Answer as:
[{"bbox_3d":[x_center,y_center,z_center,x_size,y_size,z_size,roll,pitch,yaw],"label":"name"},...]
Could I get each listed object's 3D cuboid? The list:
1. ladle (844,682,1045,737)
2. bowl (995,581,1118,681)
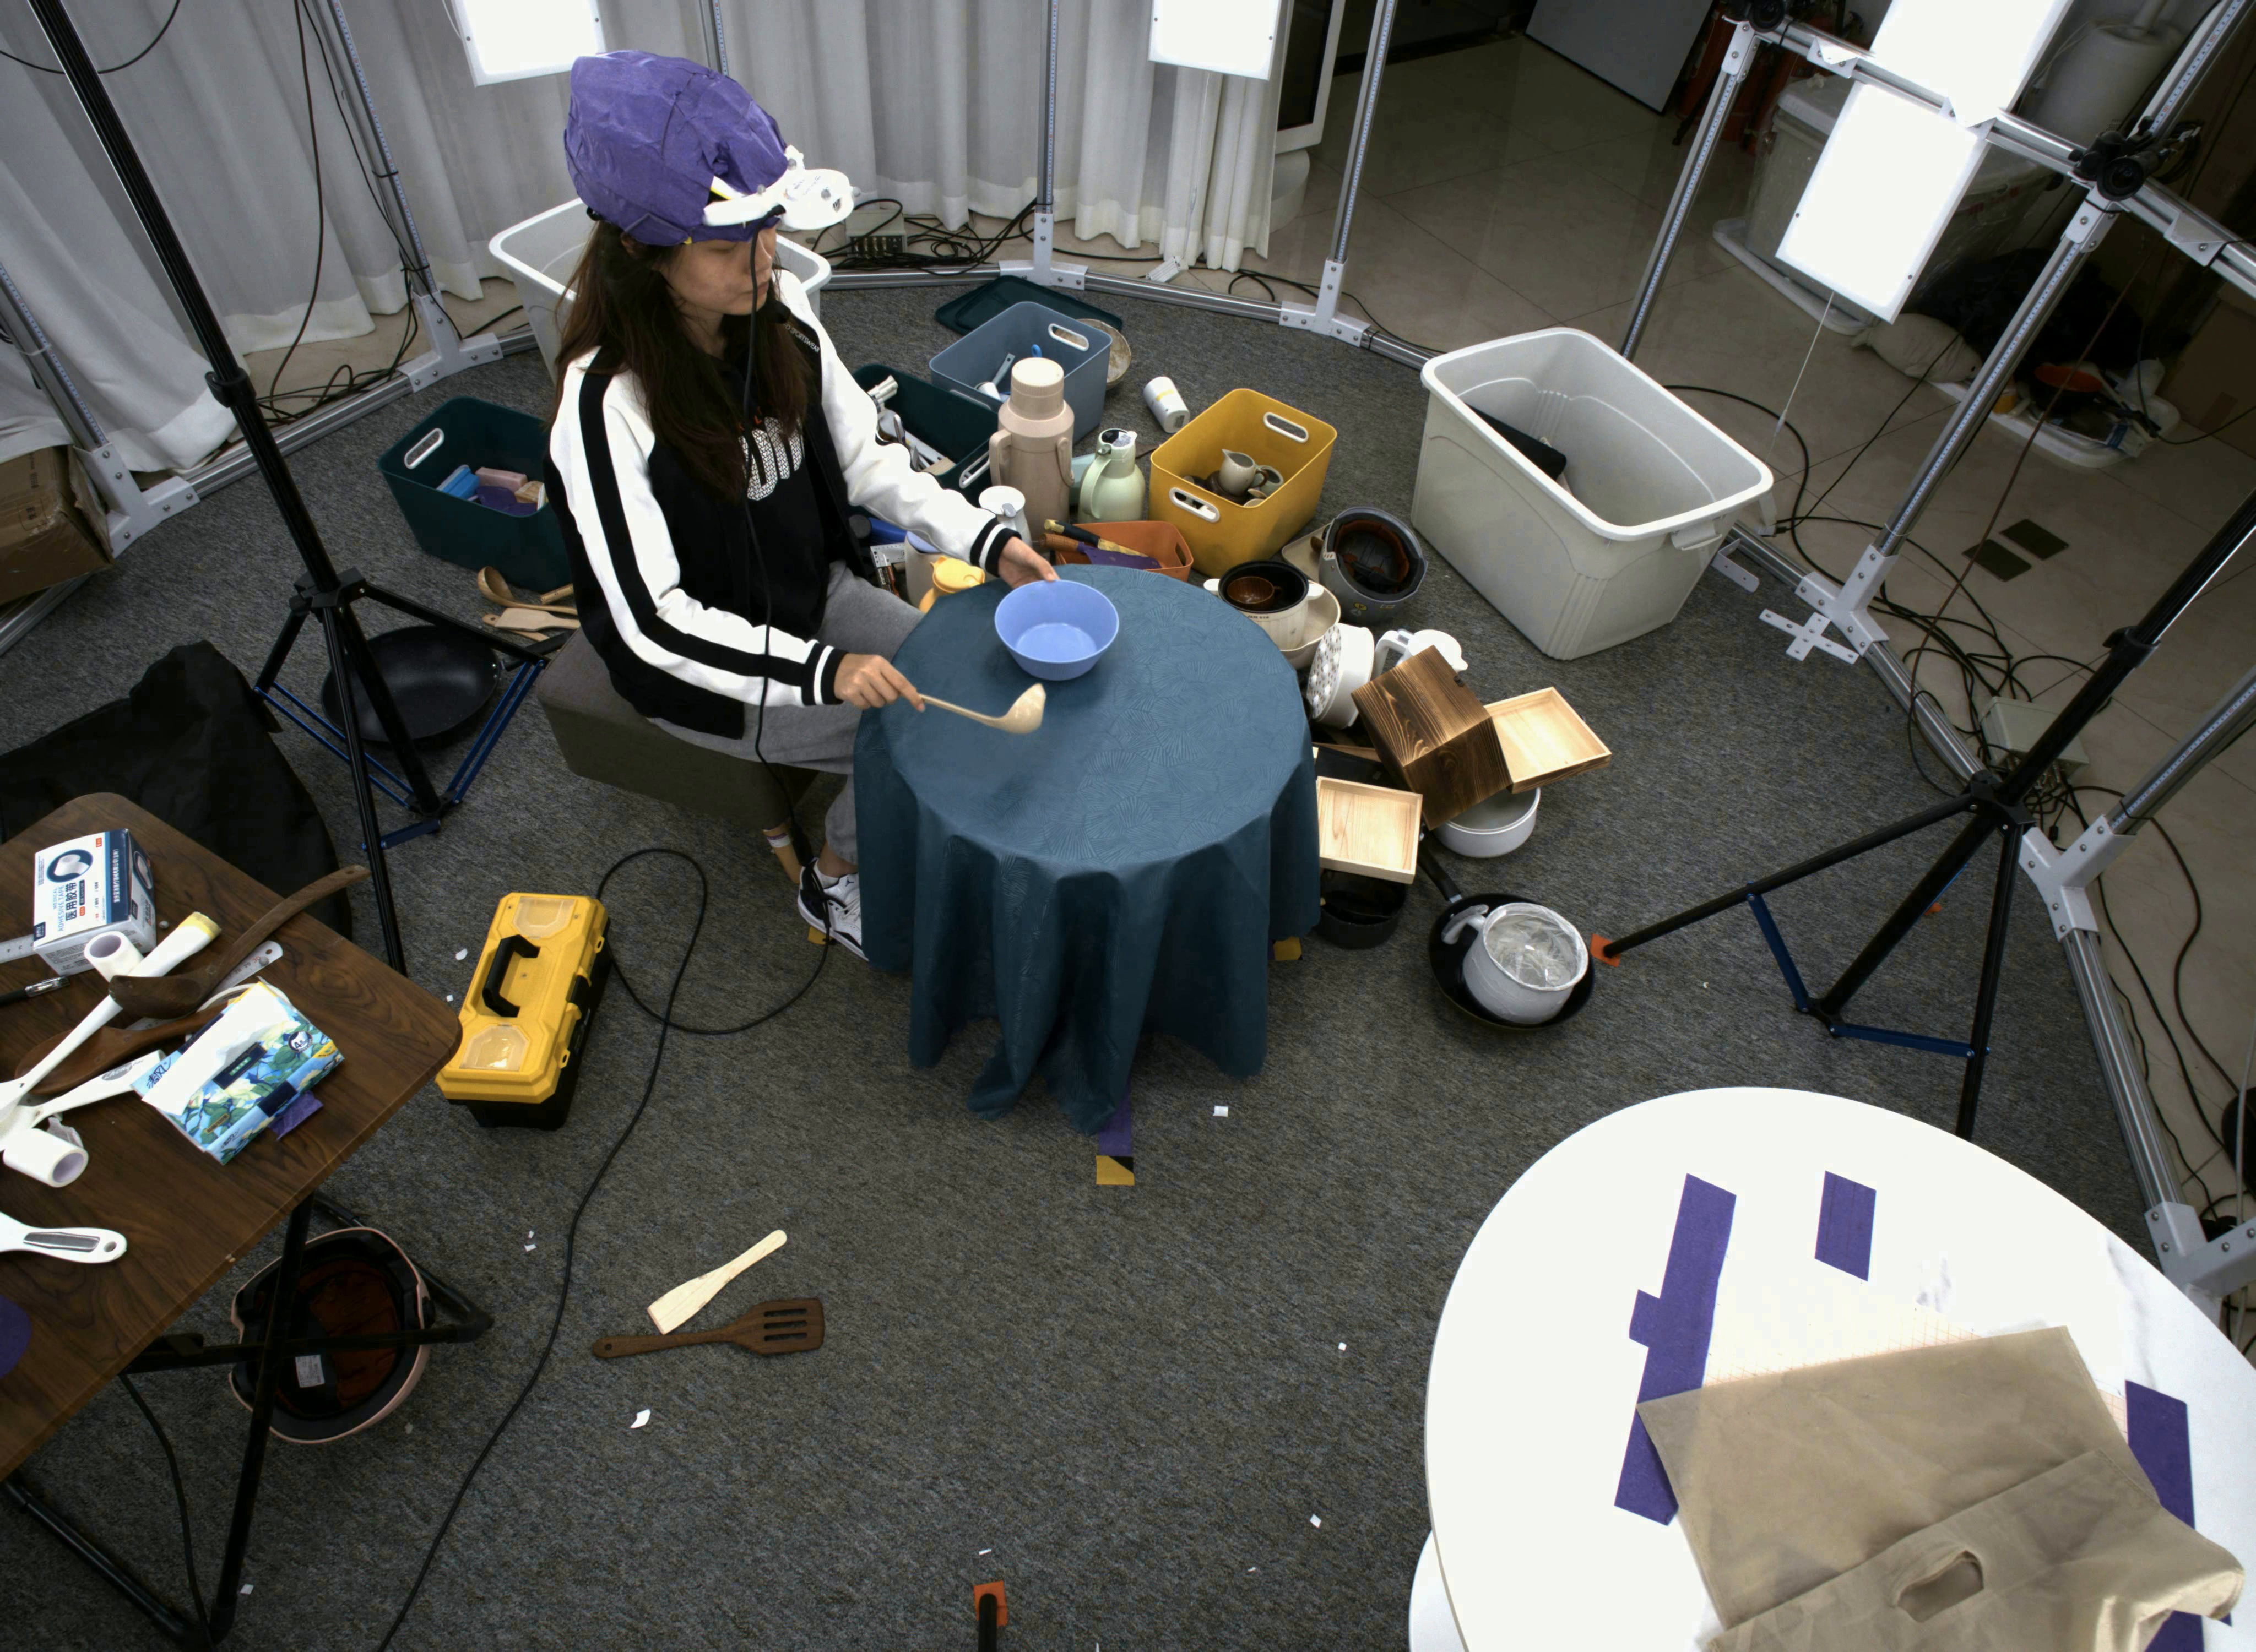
[{"bbox_3d":[-0.232,-0.179,1.664,0.254,0.071,0.073,17,77,-2],"label":"ladle"},{"bbox_3d":[-0.104,-0.272,1.854,0.176,0.068,0.180,2,48,-3],"label":"bowl"}]
